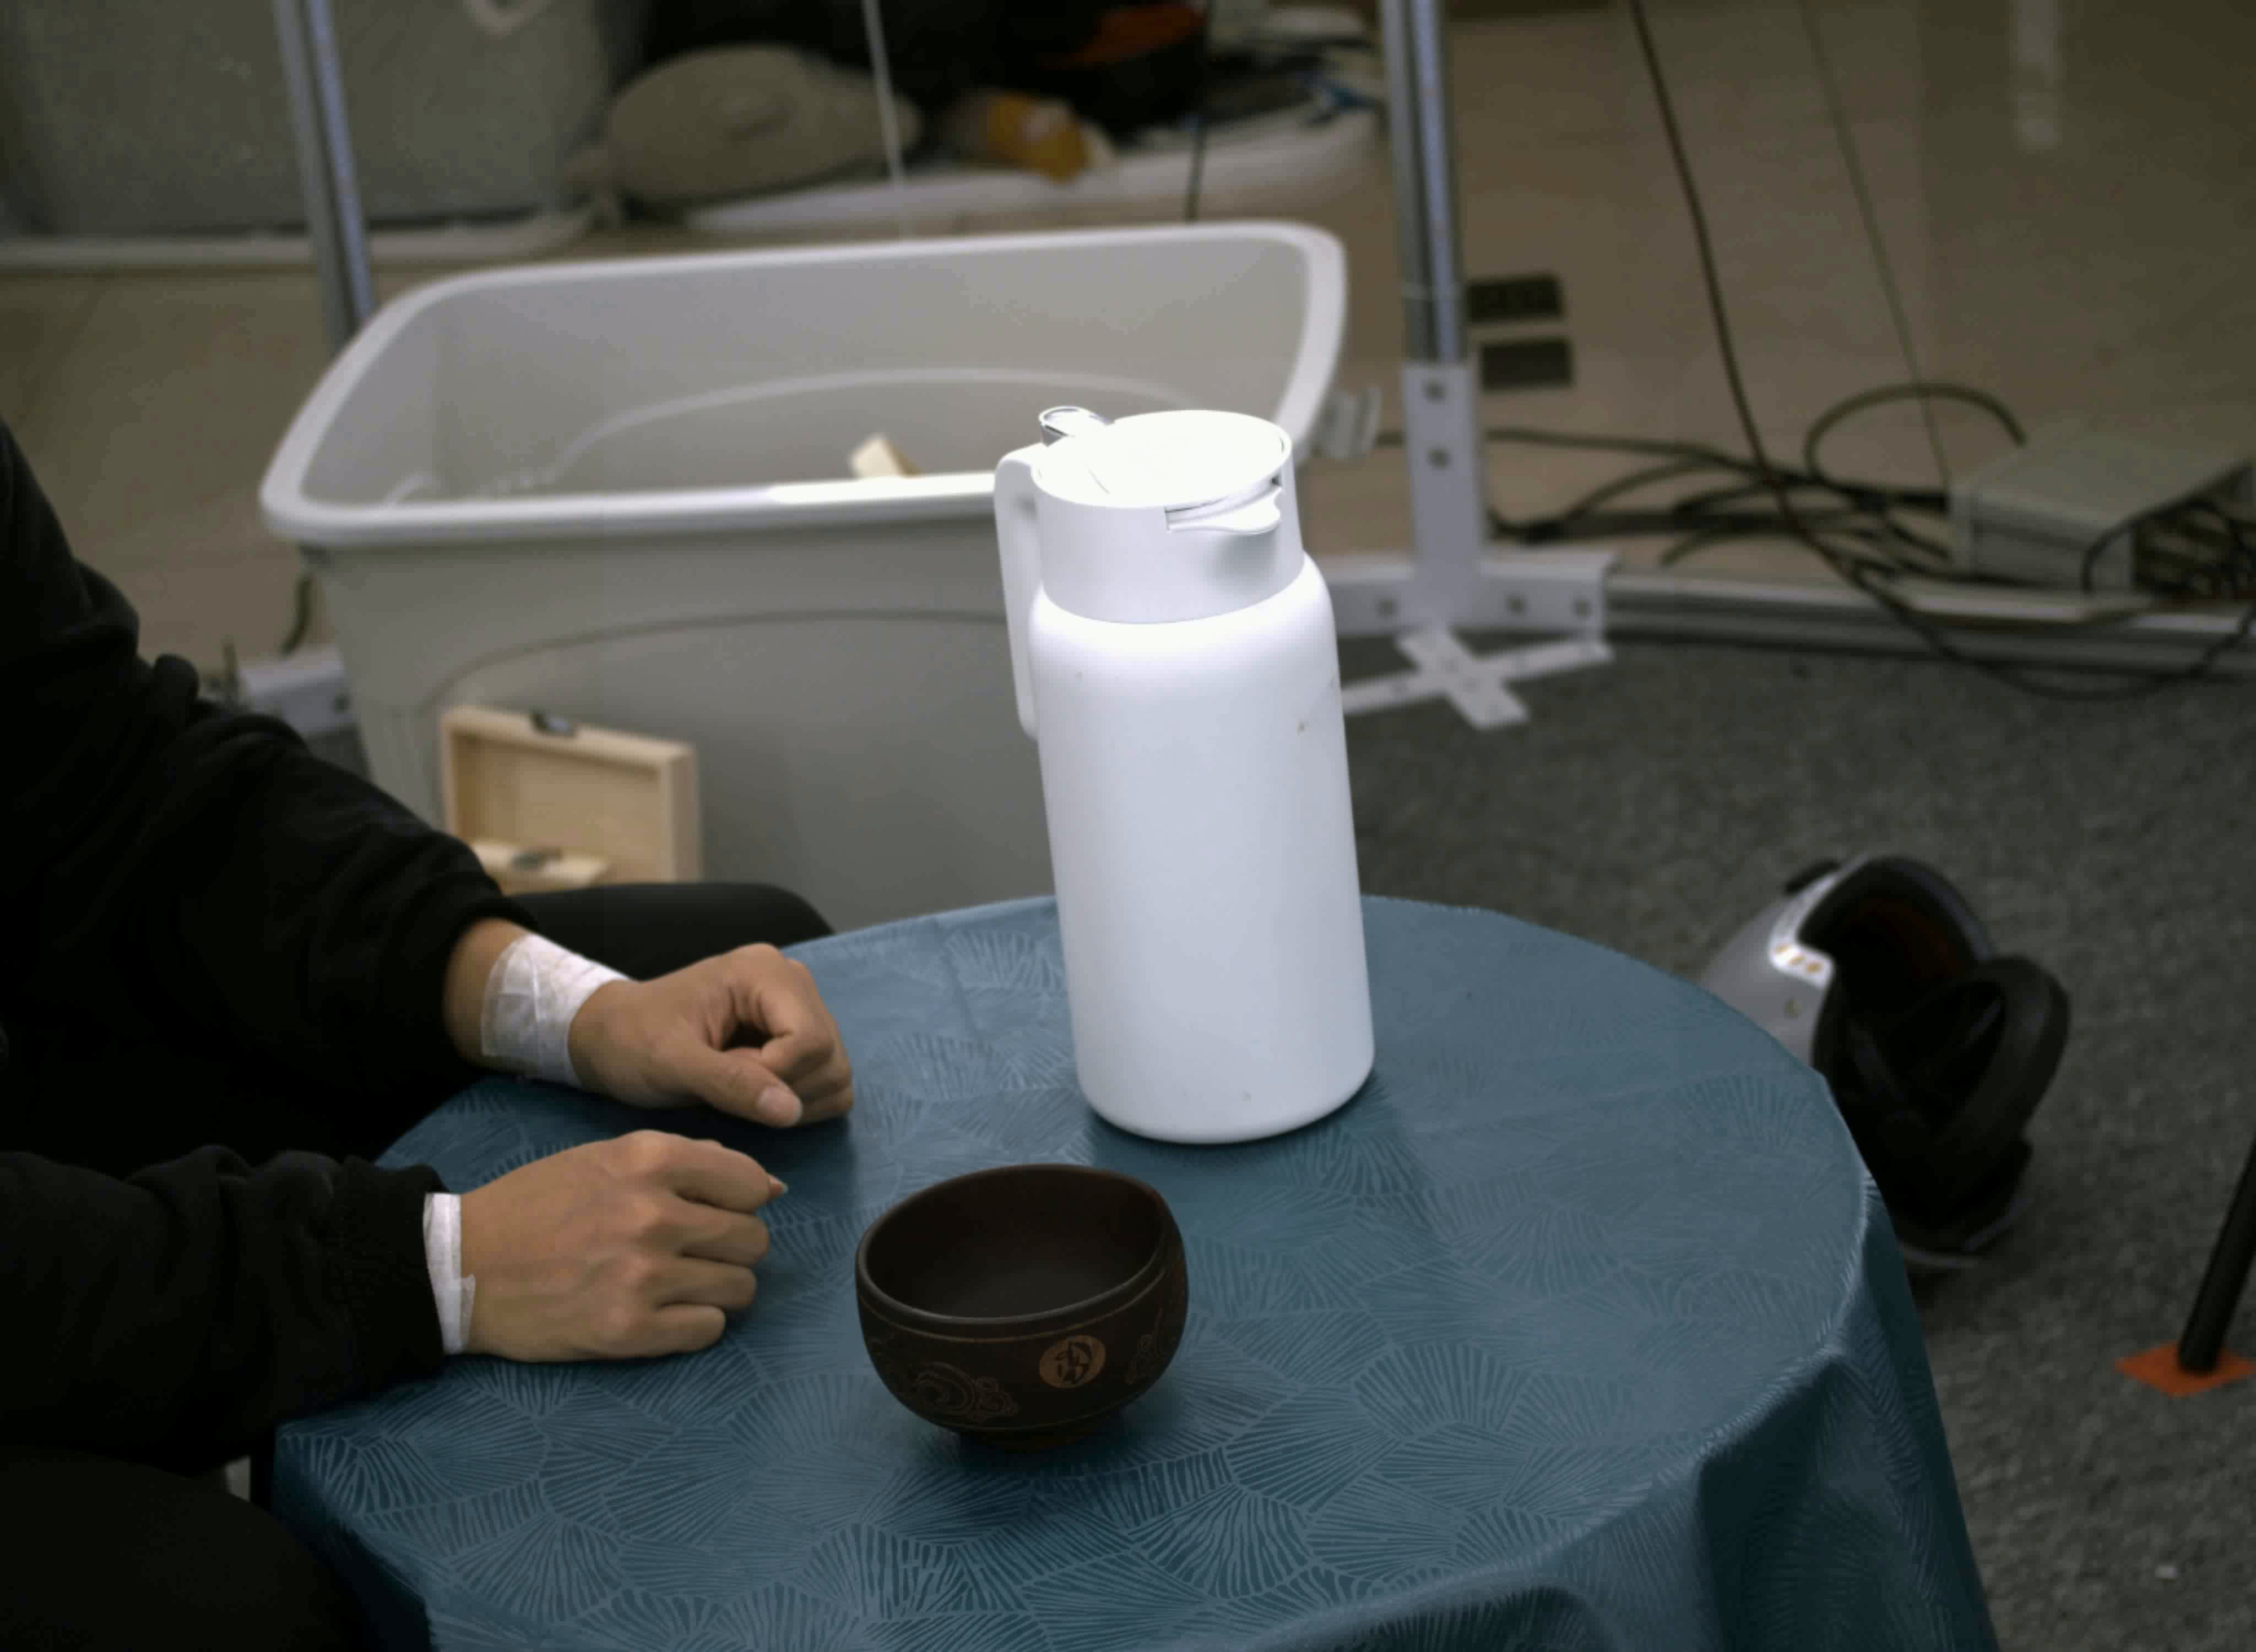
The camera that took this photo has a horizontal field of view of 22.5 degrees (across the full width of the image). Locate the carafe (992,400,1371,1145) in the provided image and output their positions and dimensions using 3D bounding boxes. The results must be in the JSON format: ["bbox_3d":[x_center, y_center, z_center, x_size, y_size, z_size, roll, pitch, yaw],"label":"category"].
[{"bbox_3d":[0.014,-0.023,2.174,0.123,0.273,0.171,-24,31,-29],"label":"carafe"}]

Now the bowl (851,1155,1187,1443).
[{"bbox_3d":[-0.037,0.173,1.996,0.118,0.071,0.116,-5,25,3],"label":"bowl"}]
